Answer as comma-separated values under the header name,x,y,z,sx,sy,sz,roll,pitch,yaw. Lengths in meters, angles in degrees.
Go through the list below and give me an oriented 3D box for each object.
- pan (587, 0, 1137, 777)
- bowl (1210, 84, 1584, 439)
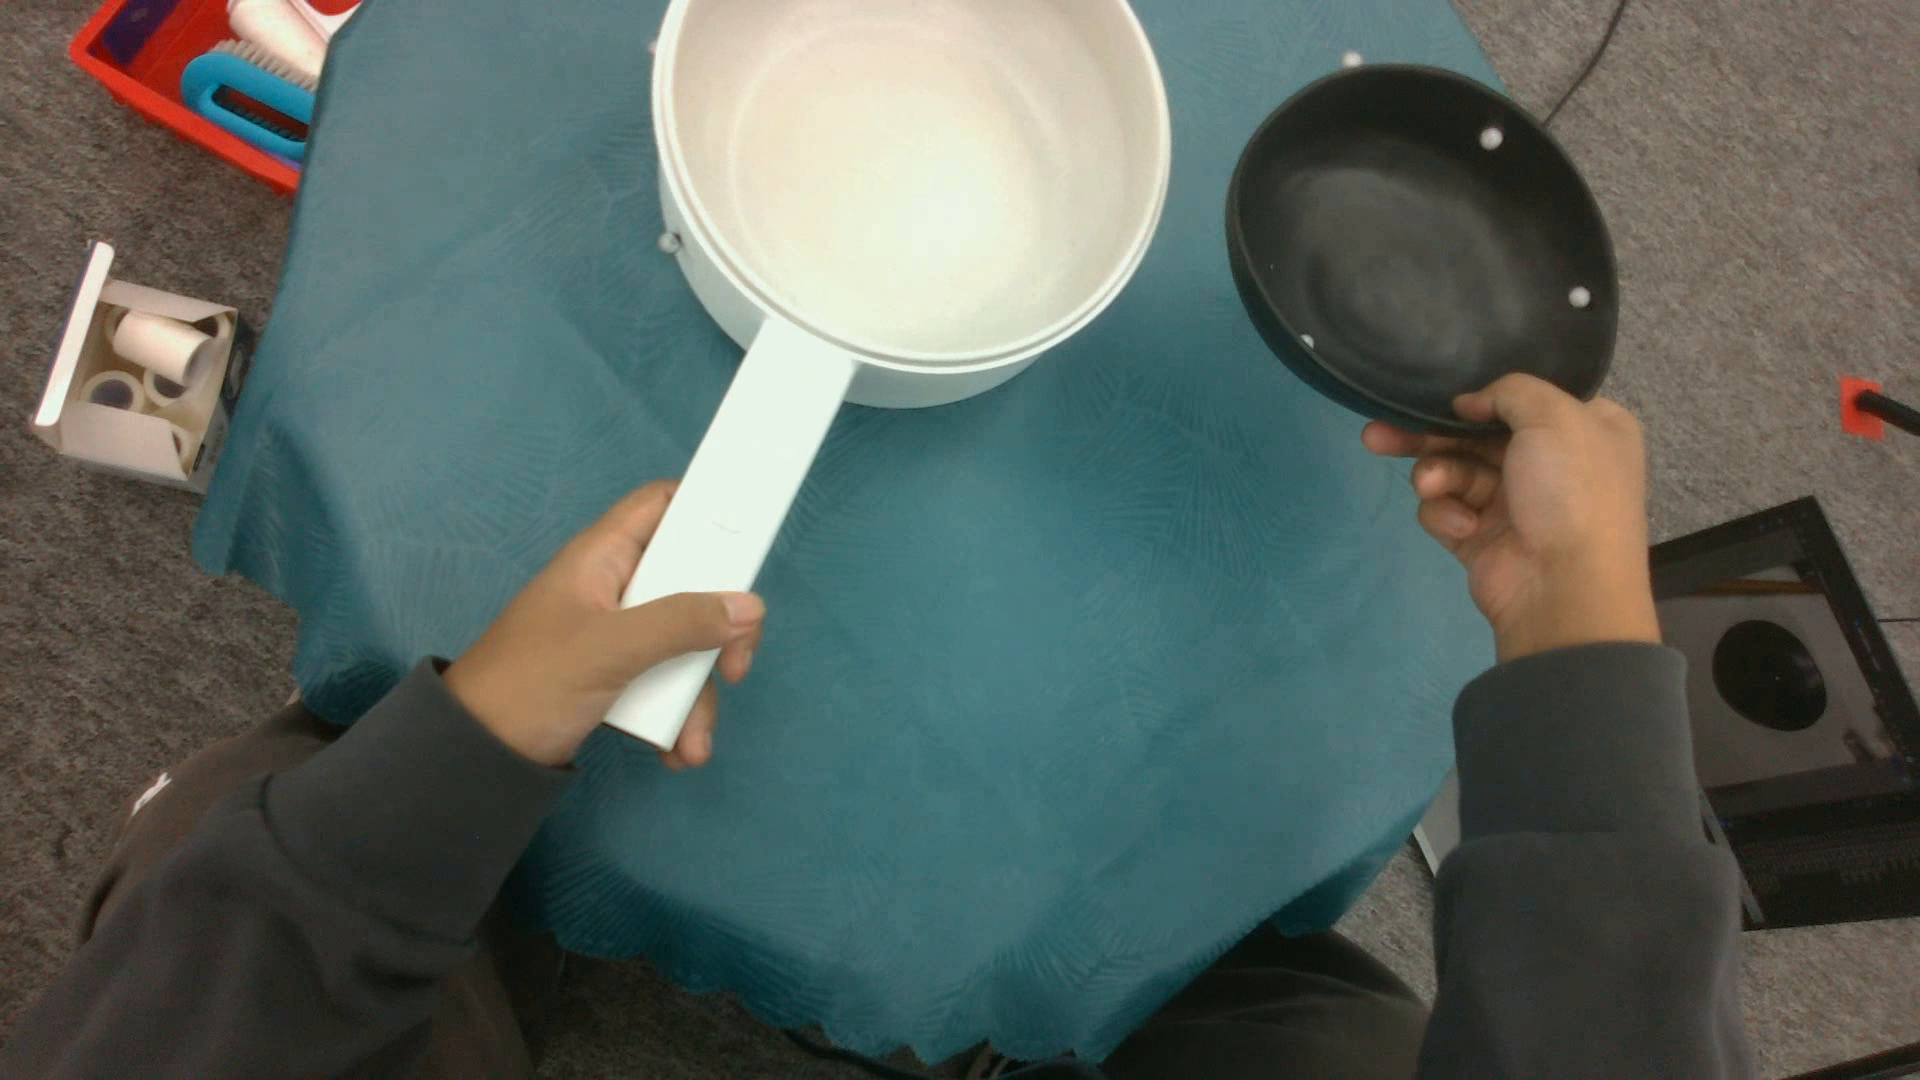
name,x,y,z,sx,sy,sz,roll,pitch,yaw
pan,-0.061,-0.076,0.572,0.201,0.102,0.355,23,77,-10
bowl,0.174,-0.106,0.566,0.170,0.066,0.137,22,77,-8
